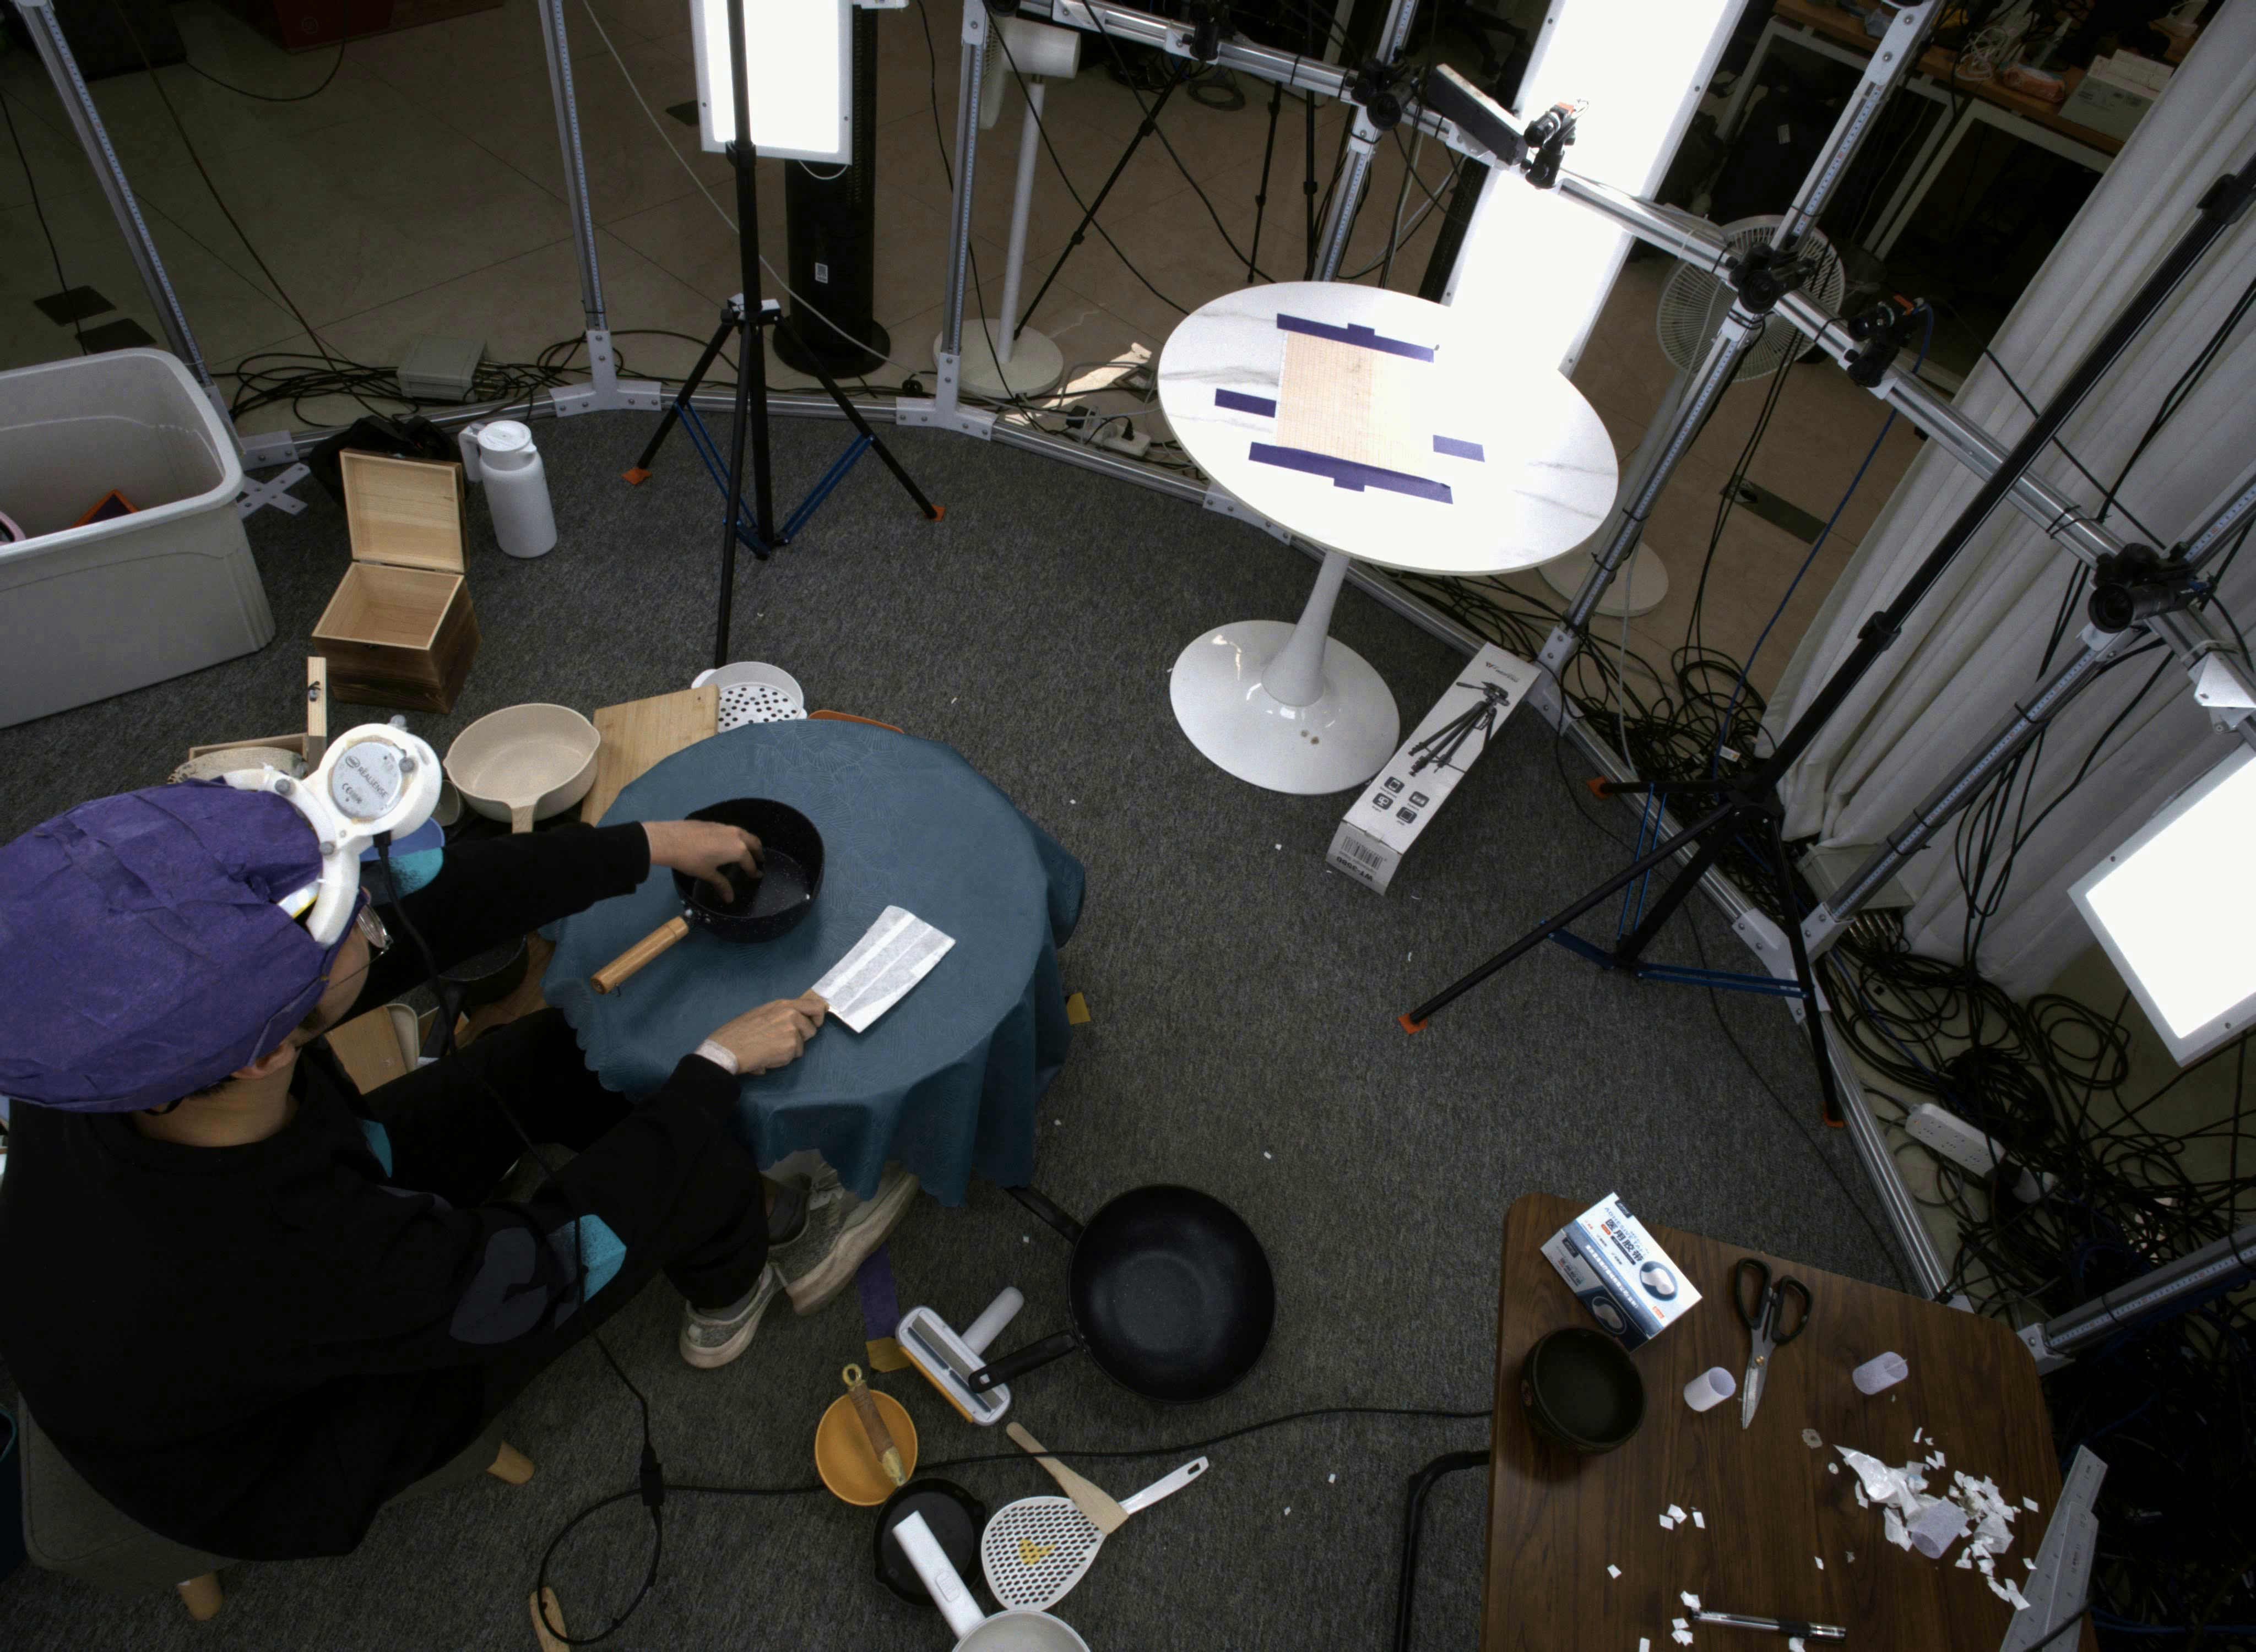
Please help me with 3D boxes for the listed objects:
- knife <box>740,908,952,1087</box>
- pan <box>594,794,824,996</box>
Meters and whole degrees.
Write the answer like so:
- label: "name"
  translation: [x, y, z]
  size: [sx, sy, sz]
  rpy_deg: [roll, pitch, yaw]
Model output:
- label: "knife"
  translation: [-0.343, 0.201, 1.567]
  size: [0.112, 0.022, 0.315]
  rpy_deg: [36, 49, 13]
- label: "pan"
  translation: [-0.507, 0.102, 1.544]
  size: [0.204, 0.110, 0.341]
  rpy_deg: [31, 51, 8]
